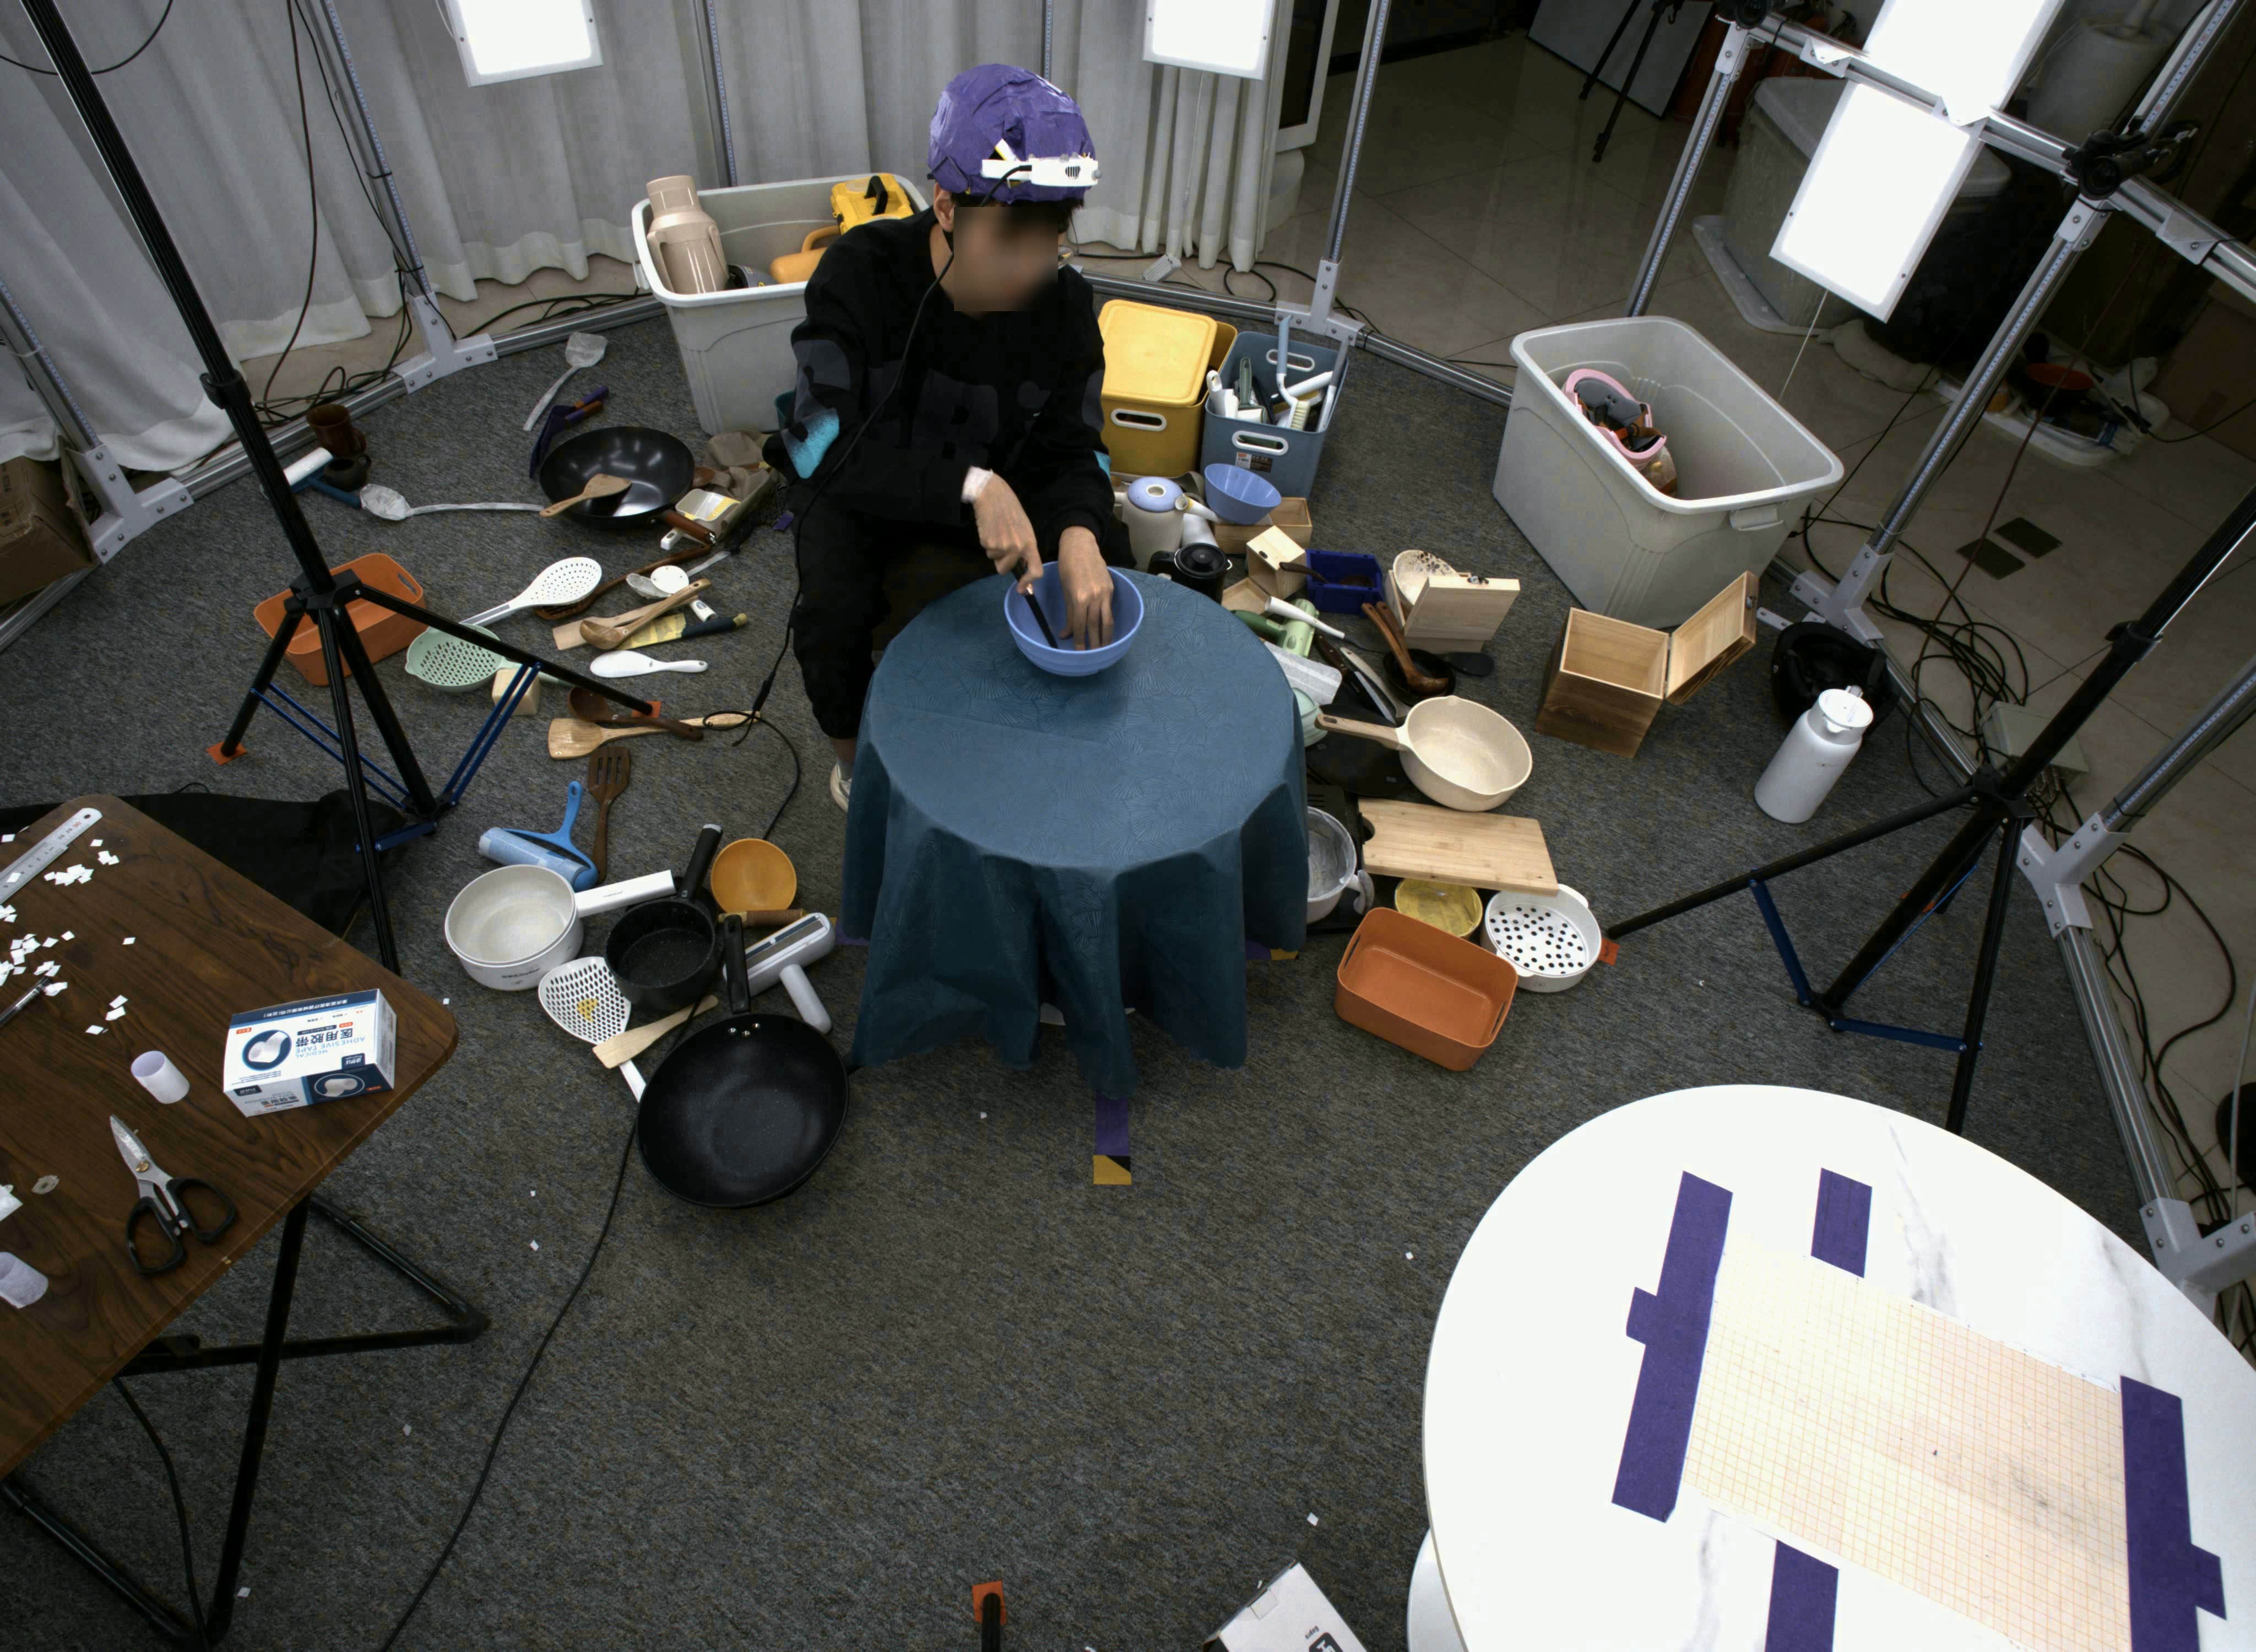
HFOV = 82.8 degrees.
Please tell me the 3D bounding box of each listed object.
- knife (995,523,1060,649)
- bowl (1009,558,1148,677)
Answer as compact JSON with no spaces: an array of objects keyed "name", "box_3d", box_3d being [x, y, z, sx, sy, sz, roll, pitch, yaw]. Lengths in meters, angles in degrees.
[{"name":"knife","box_3d":[-0.133,-0.322,1.818,0.026,0.222,0.017,-8,25,45]},{"name":"bowl","box_3d":[-0.073,-0.284,1.846,0.196,0.093,0.201,3,51,-4]}]
